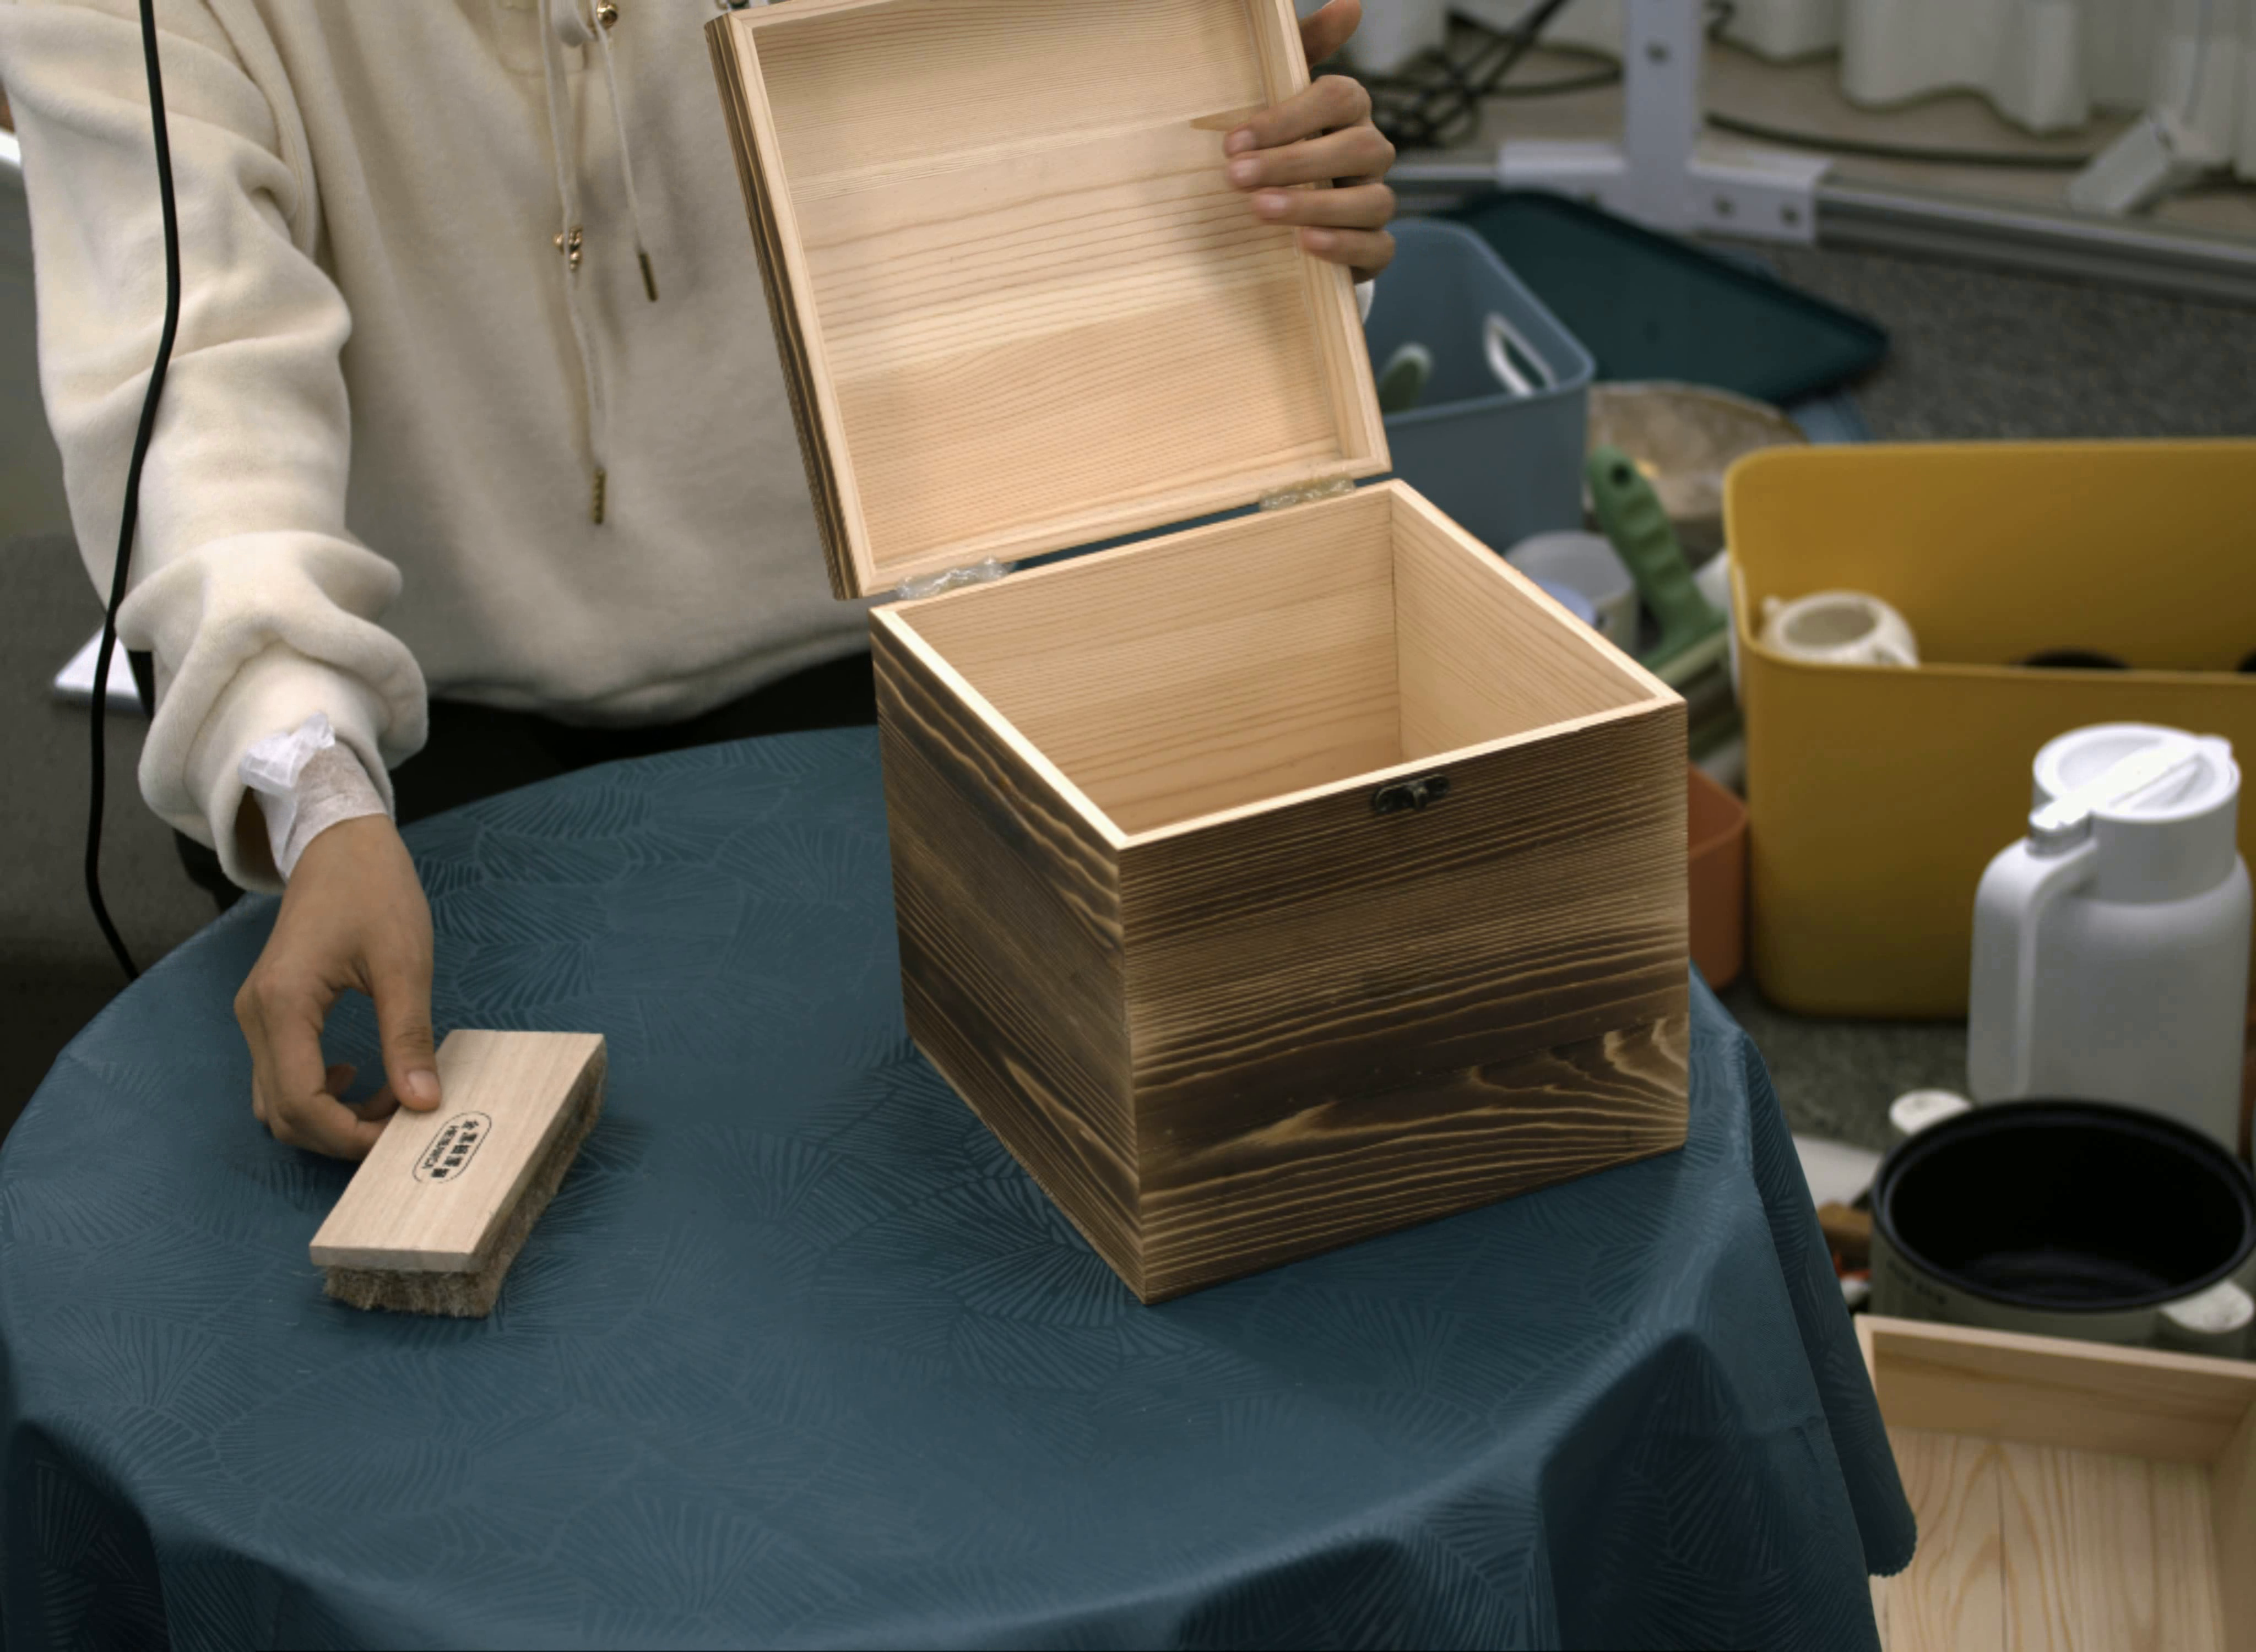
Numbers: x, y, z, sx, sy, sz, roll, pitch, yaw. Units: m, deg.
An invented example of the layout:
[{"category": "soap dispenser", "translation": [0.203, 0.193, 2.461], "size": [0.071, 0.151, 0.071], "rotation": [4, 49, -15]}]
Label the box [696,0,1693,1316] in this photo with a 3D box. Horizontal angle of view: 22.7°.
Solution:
[{"category": "box", "translation": [0.021, -0.089, 1.877], "size": [0.209, 0.371, 0.324], "rotation": [-15, 29, -21]}]

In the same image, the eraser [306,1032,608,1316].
[{"category": "eraser", "translation": [-0.221, 0.115, 1.865], "size": [0.056, 0.029, 0.141], "rotation": [2, 27, 15]}]
